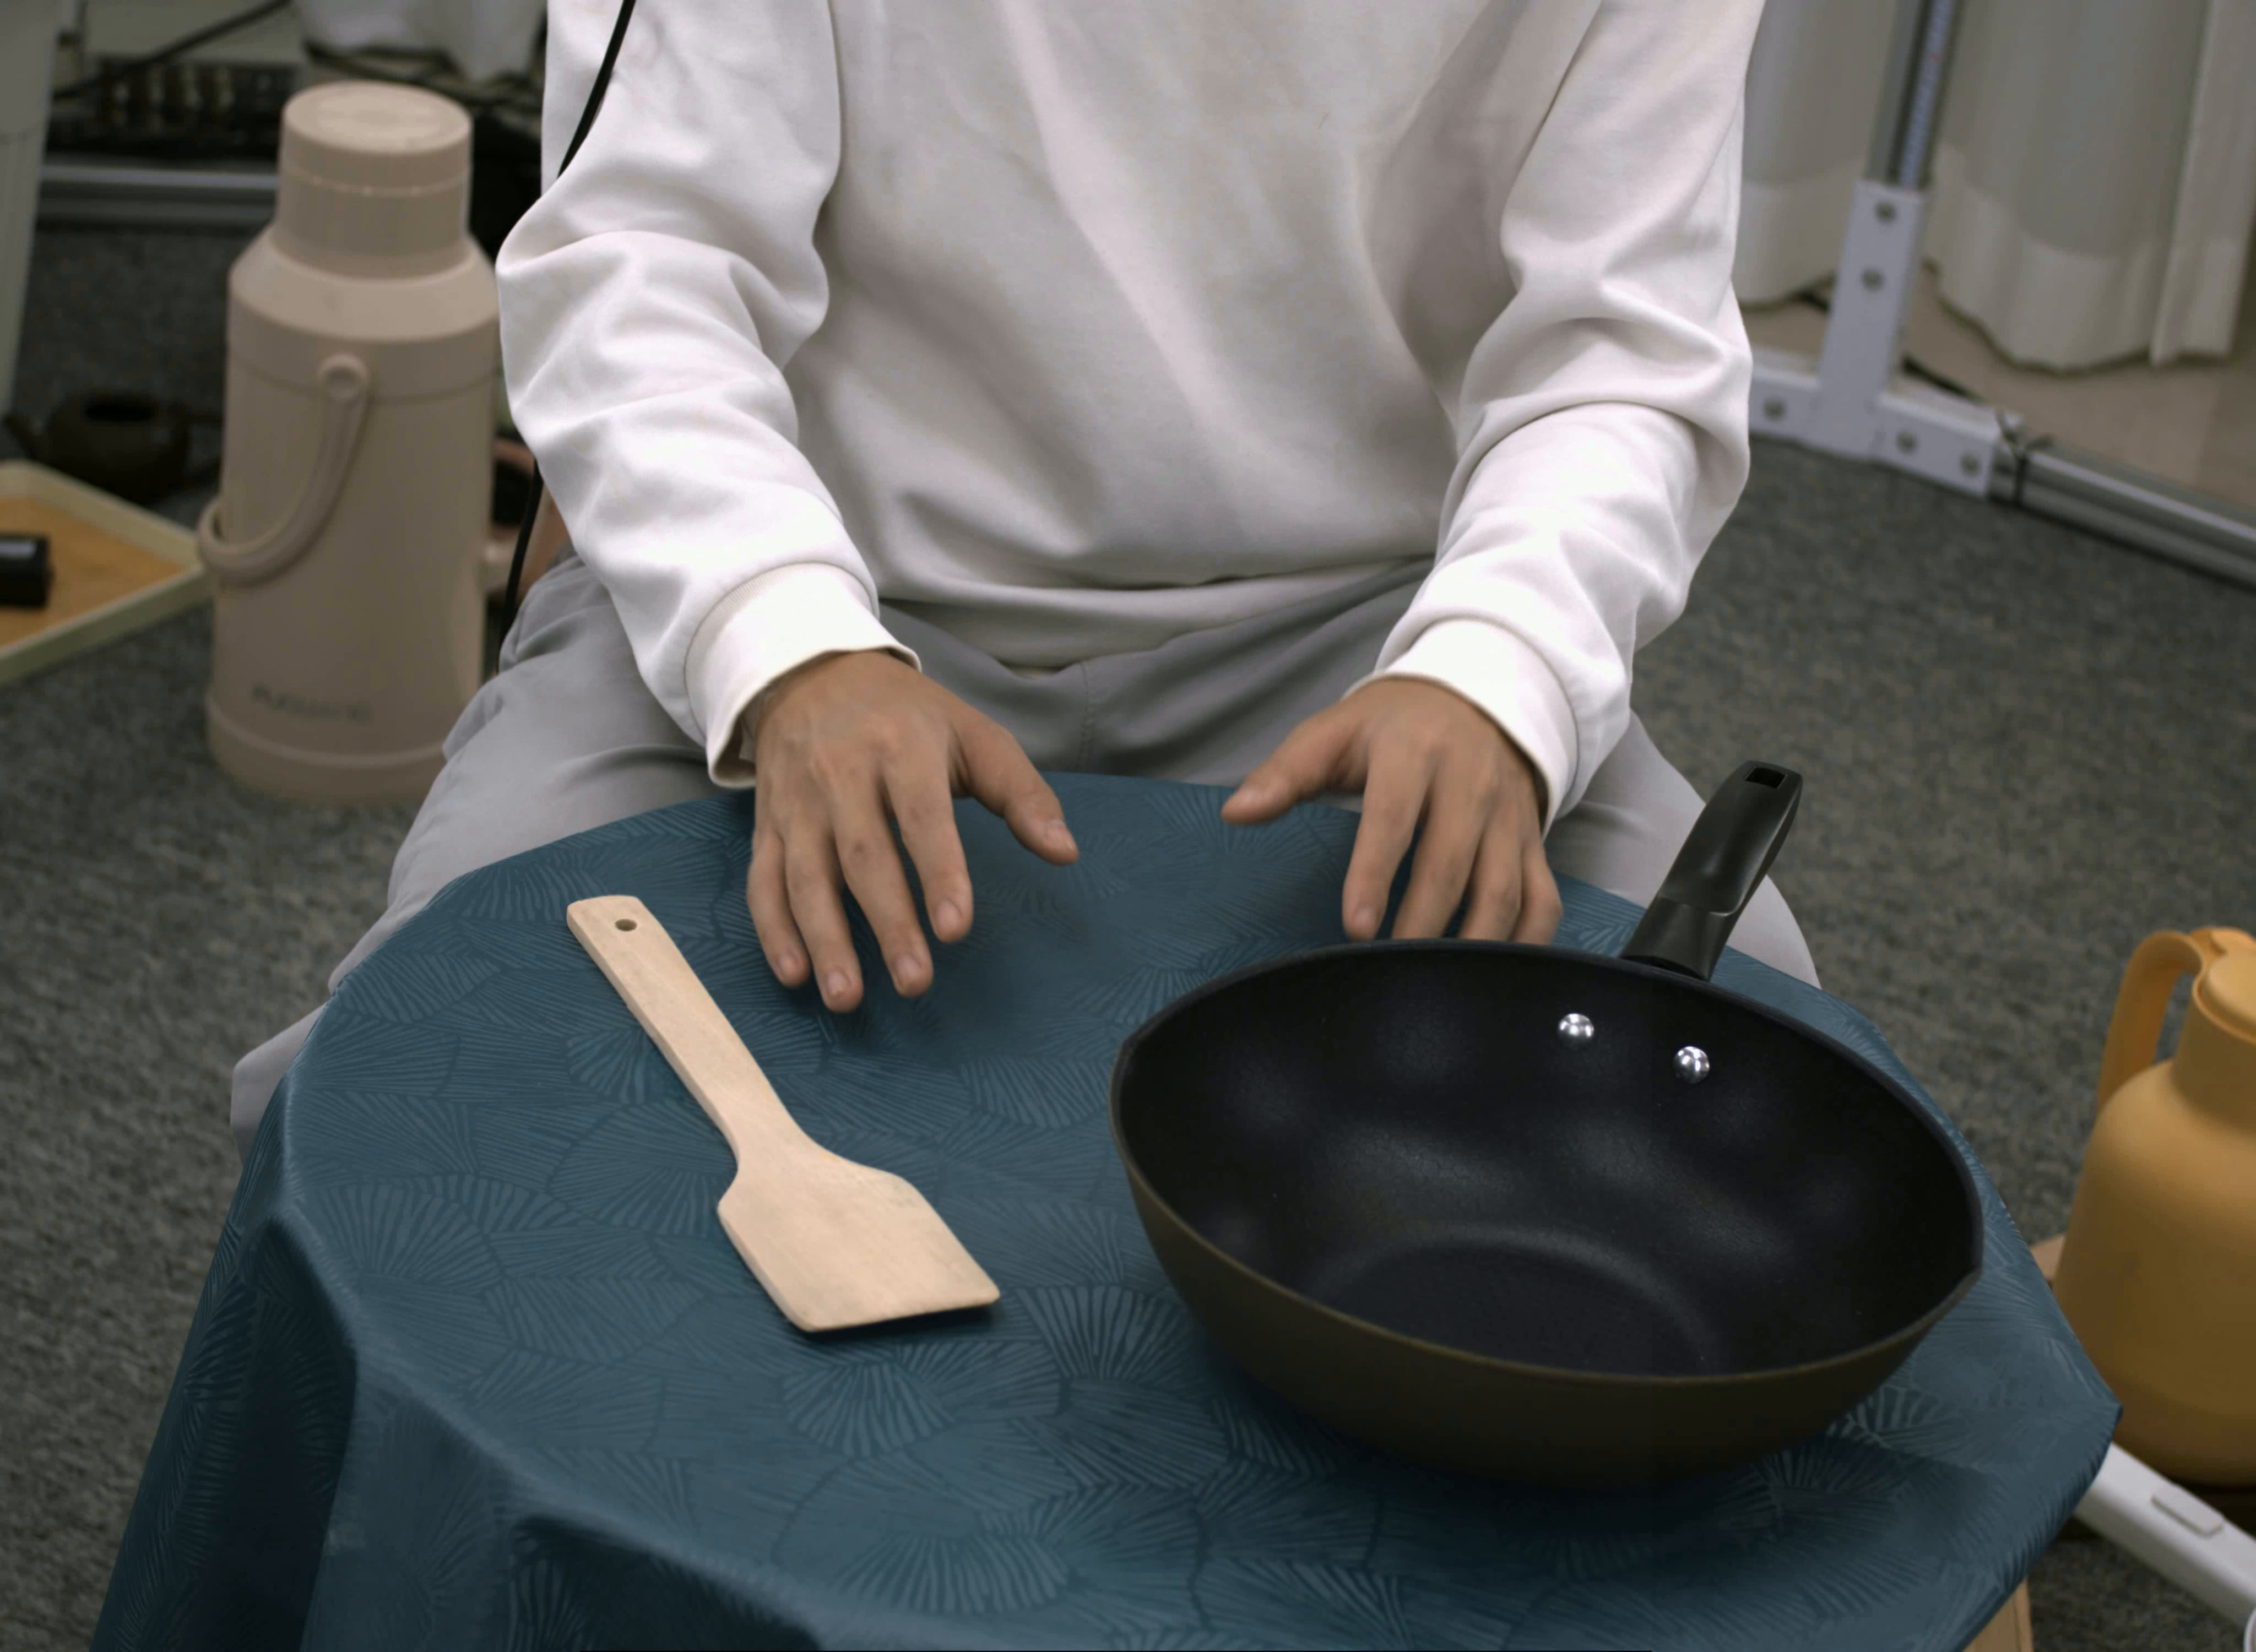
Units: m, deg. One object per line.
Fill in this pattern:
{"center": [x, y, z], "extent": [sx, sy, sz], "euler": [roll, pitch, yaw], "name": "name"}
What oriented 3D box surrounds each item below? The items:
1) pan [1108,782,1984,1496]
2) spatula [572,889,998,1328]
{"center": [0.160, 0.102, 1.796], "extent": [0.288, 0.086, 0.463], "euler": [15, 27, 15], "name": "pan"}
{"center": [-0.133, 0.093, 1.827], "extent": [0.072, 0.010, 0.296], "euler": [-8, 30, -24], "name": "spatula"}
